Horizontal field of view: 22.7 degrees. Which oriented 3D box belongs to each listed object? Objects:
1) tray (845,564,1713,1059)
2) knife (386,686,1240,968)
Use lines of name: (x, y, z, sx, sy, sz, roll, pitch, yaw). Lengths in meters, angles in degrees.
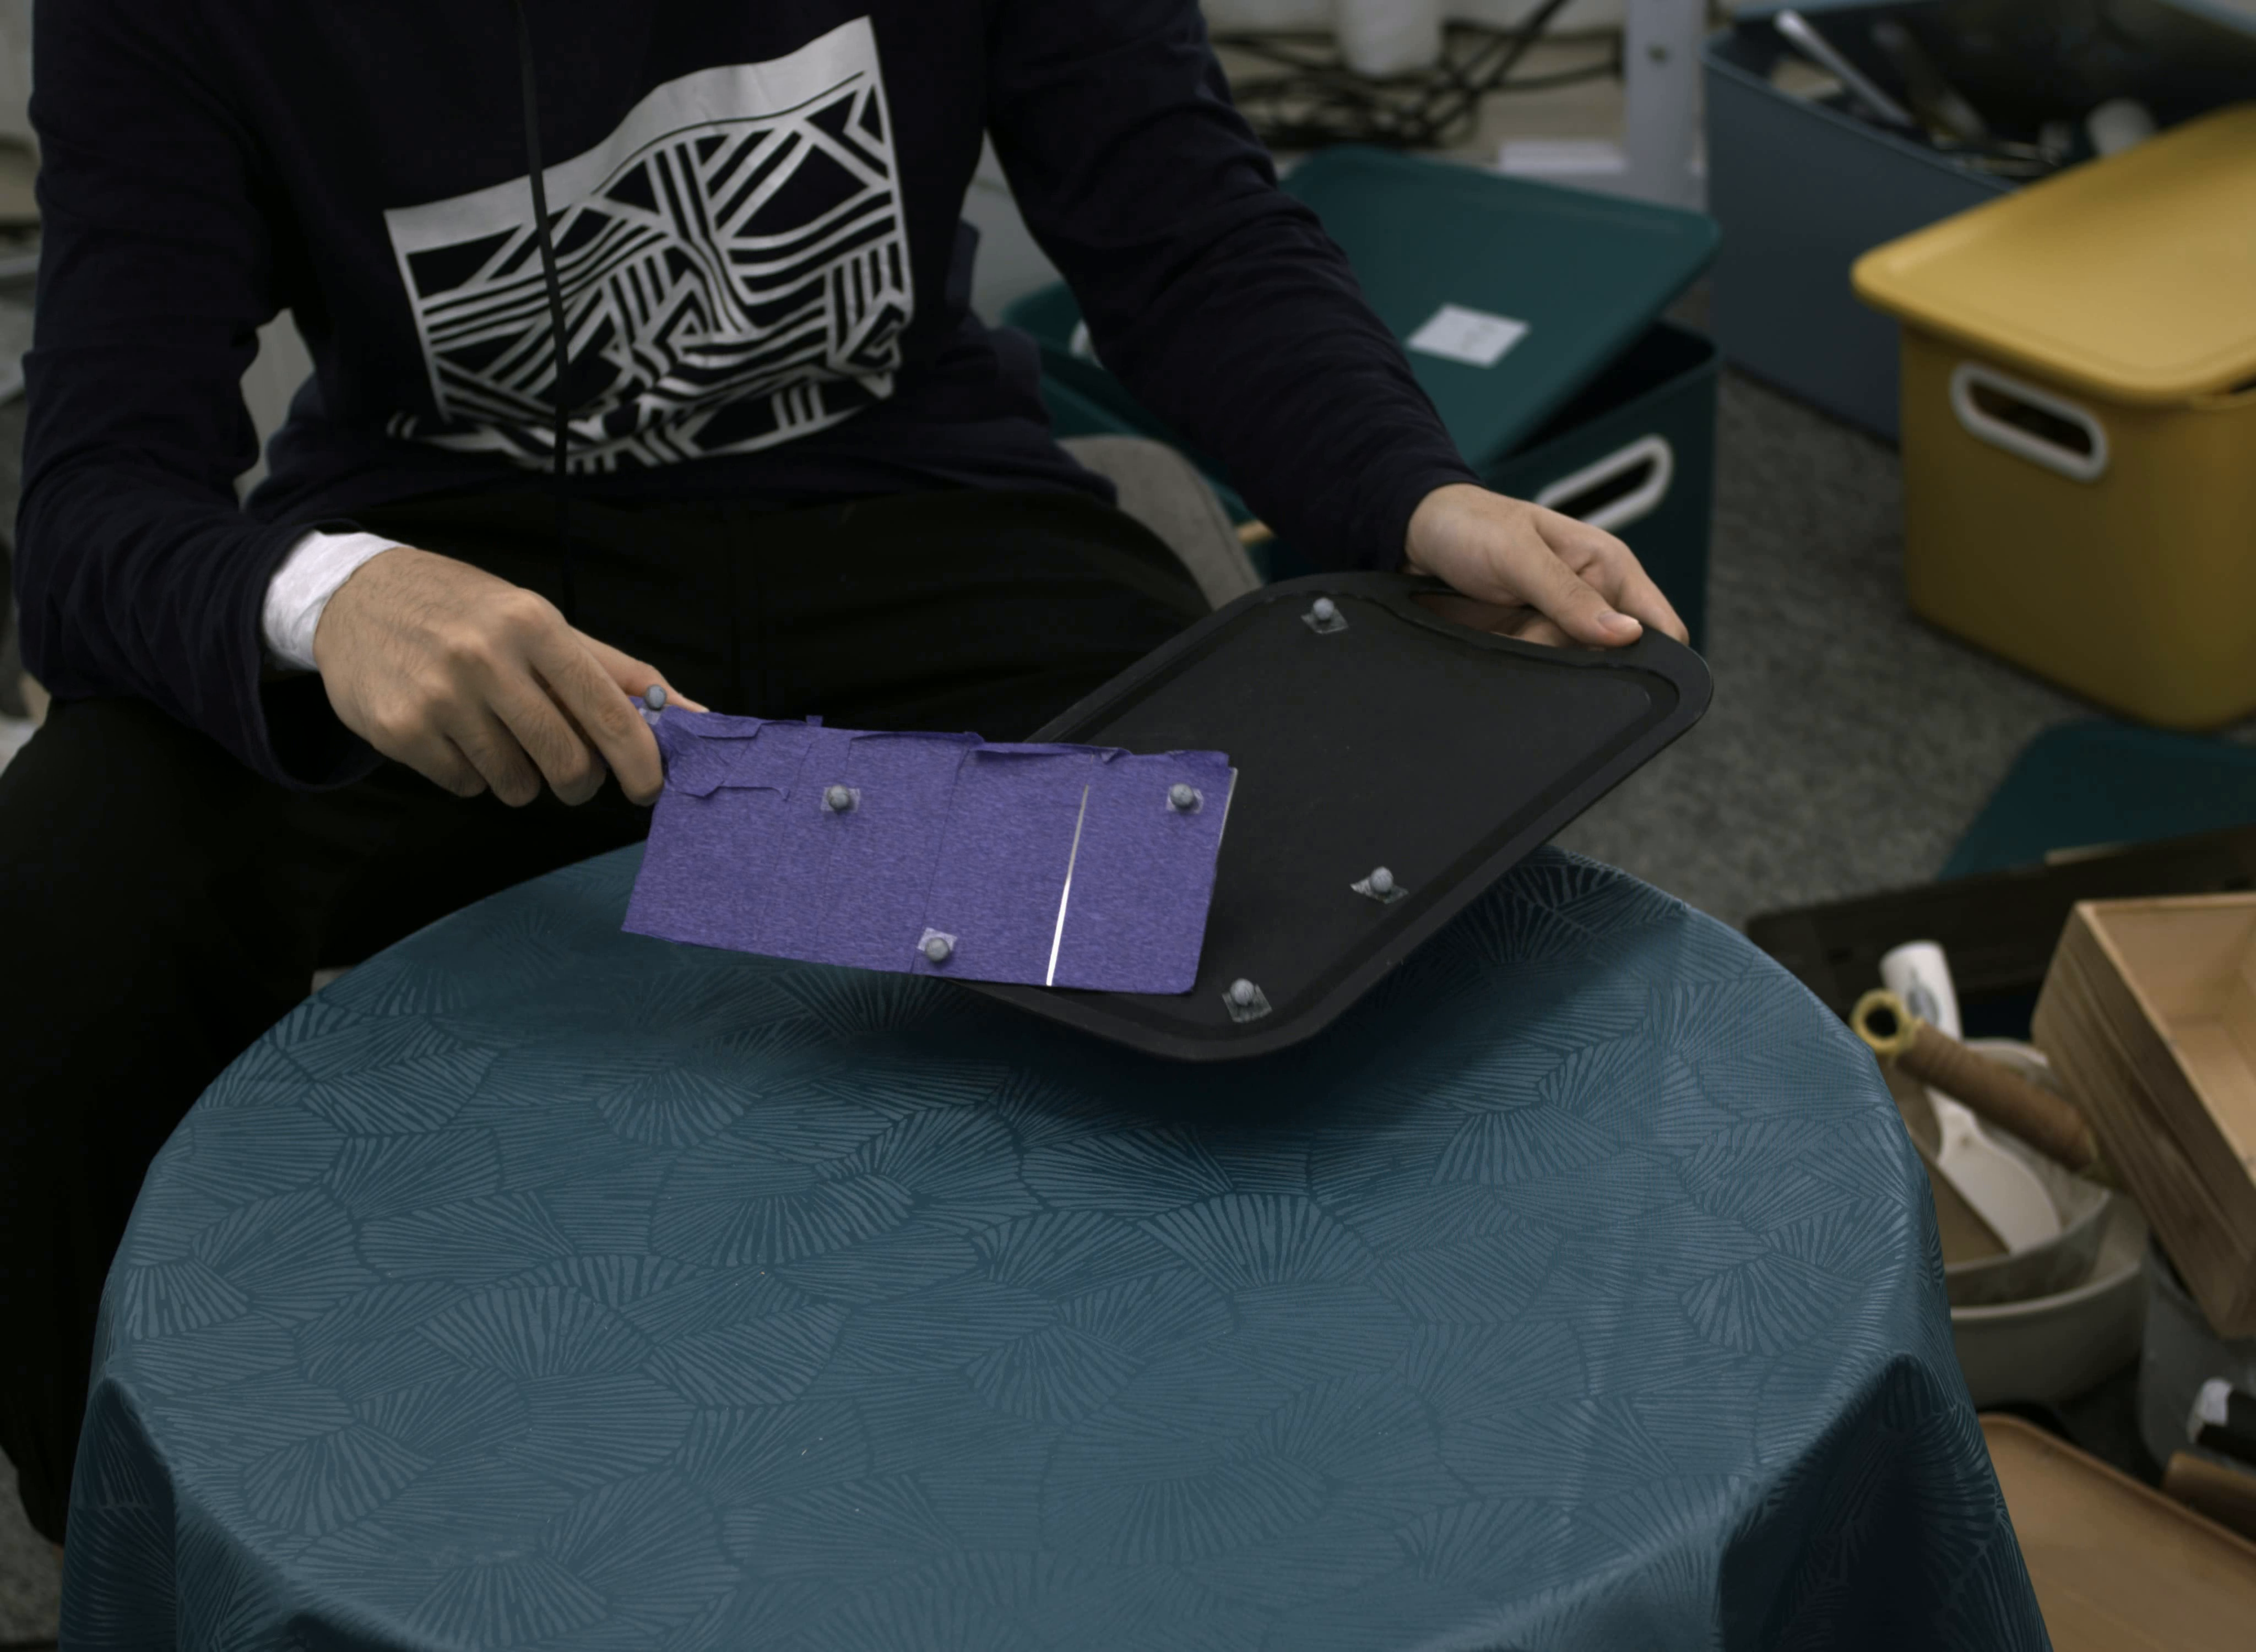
tray: (0.060, -0.016, 2.006, 0.210, 0.009, 0.330, 13, 37, 38)
knife: (-0.118, 0.000, 1.948, 0.313, 0.032, 0.106, 3, 62, 18)
